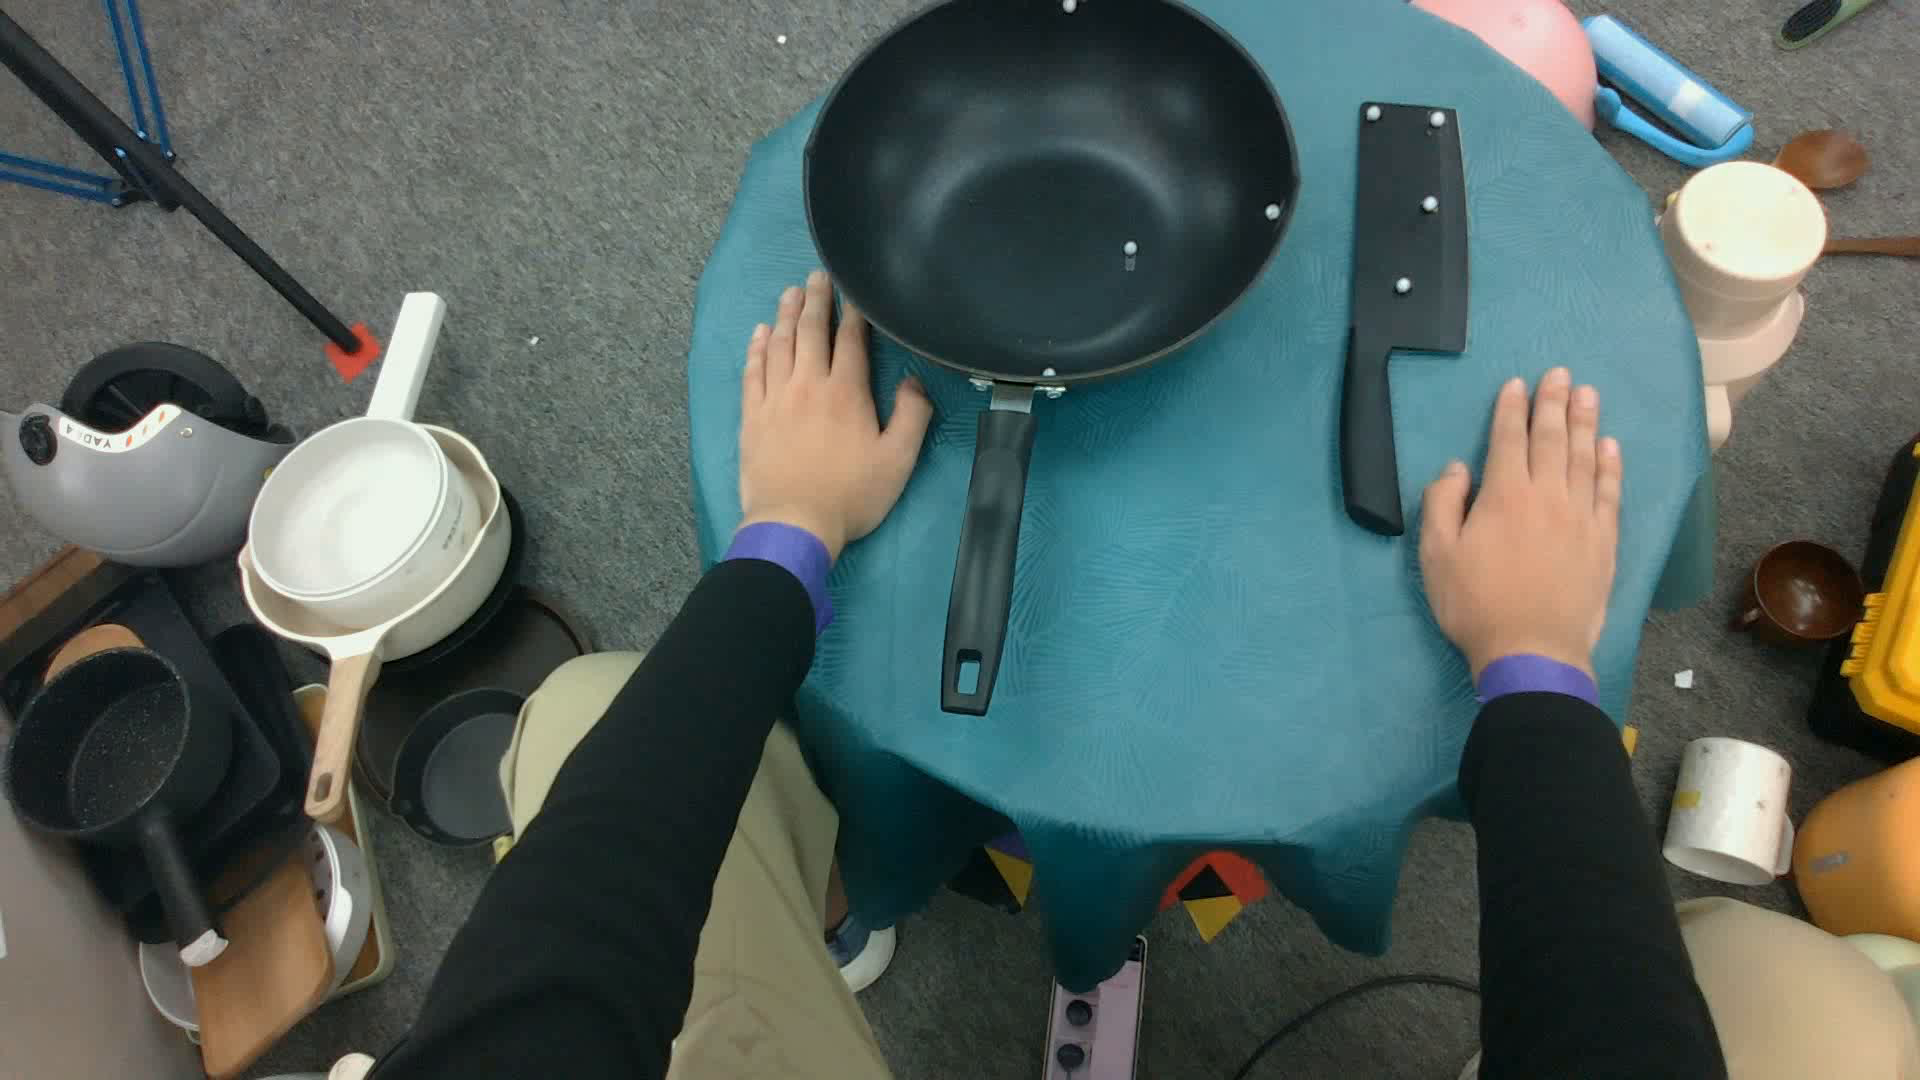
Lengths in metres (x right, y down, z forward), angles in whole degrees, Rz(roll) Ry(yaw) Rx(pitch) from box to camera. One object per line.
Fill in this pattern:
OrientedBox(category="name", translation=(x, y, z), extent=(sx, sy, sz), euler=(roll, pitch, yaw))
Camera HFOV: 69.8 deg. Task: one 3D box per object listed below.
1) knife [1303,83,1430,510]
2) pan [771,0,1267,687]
OrientedBox(category="knife", translation=(0.242, -0.156, 0.827), extent=(0.081, 0.021, 0.303), euler=(10, 67, 6))
OrientedBox(category="pan", translation=(0.021, -0.130, 0.793), extent=(0.288, 0.086, 0.465), euler=(6, 69, 6))
